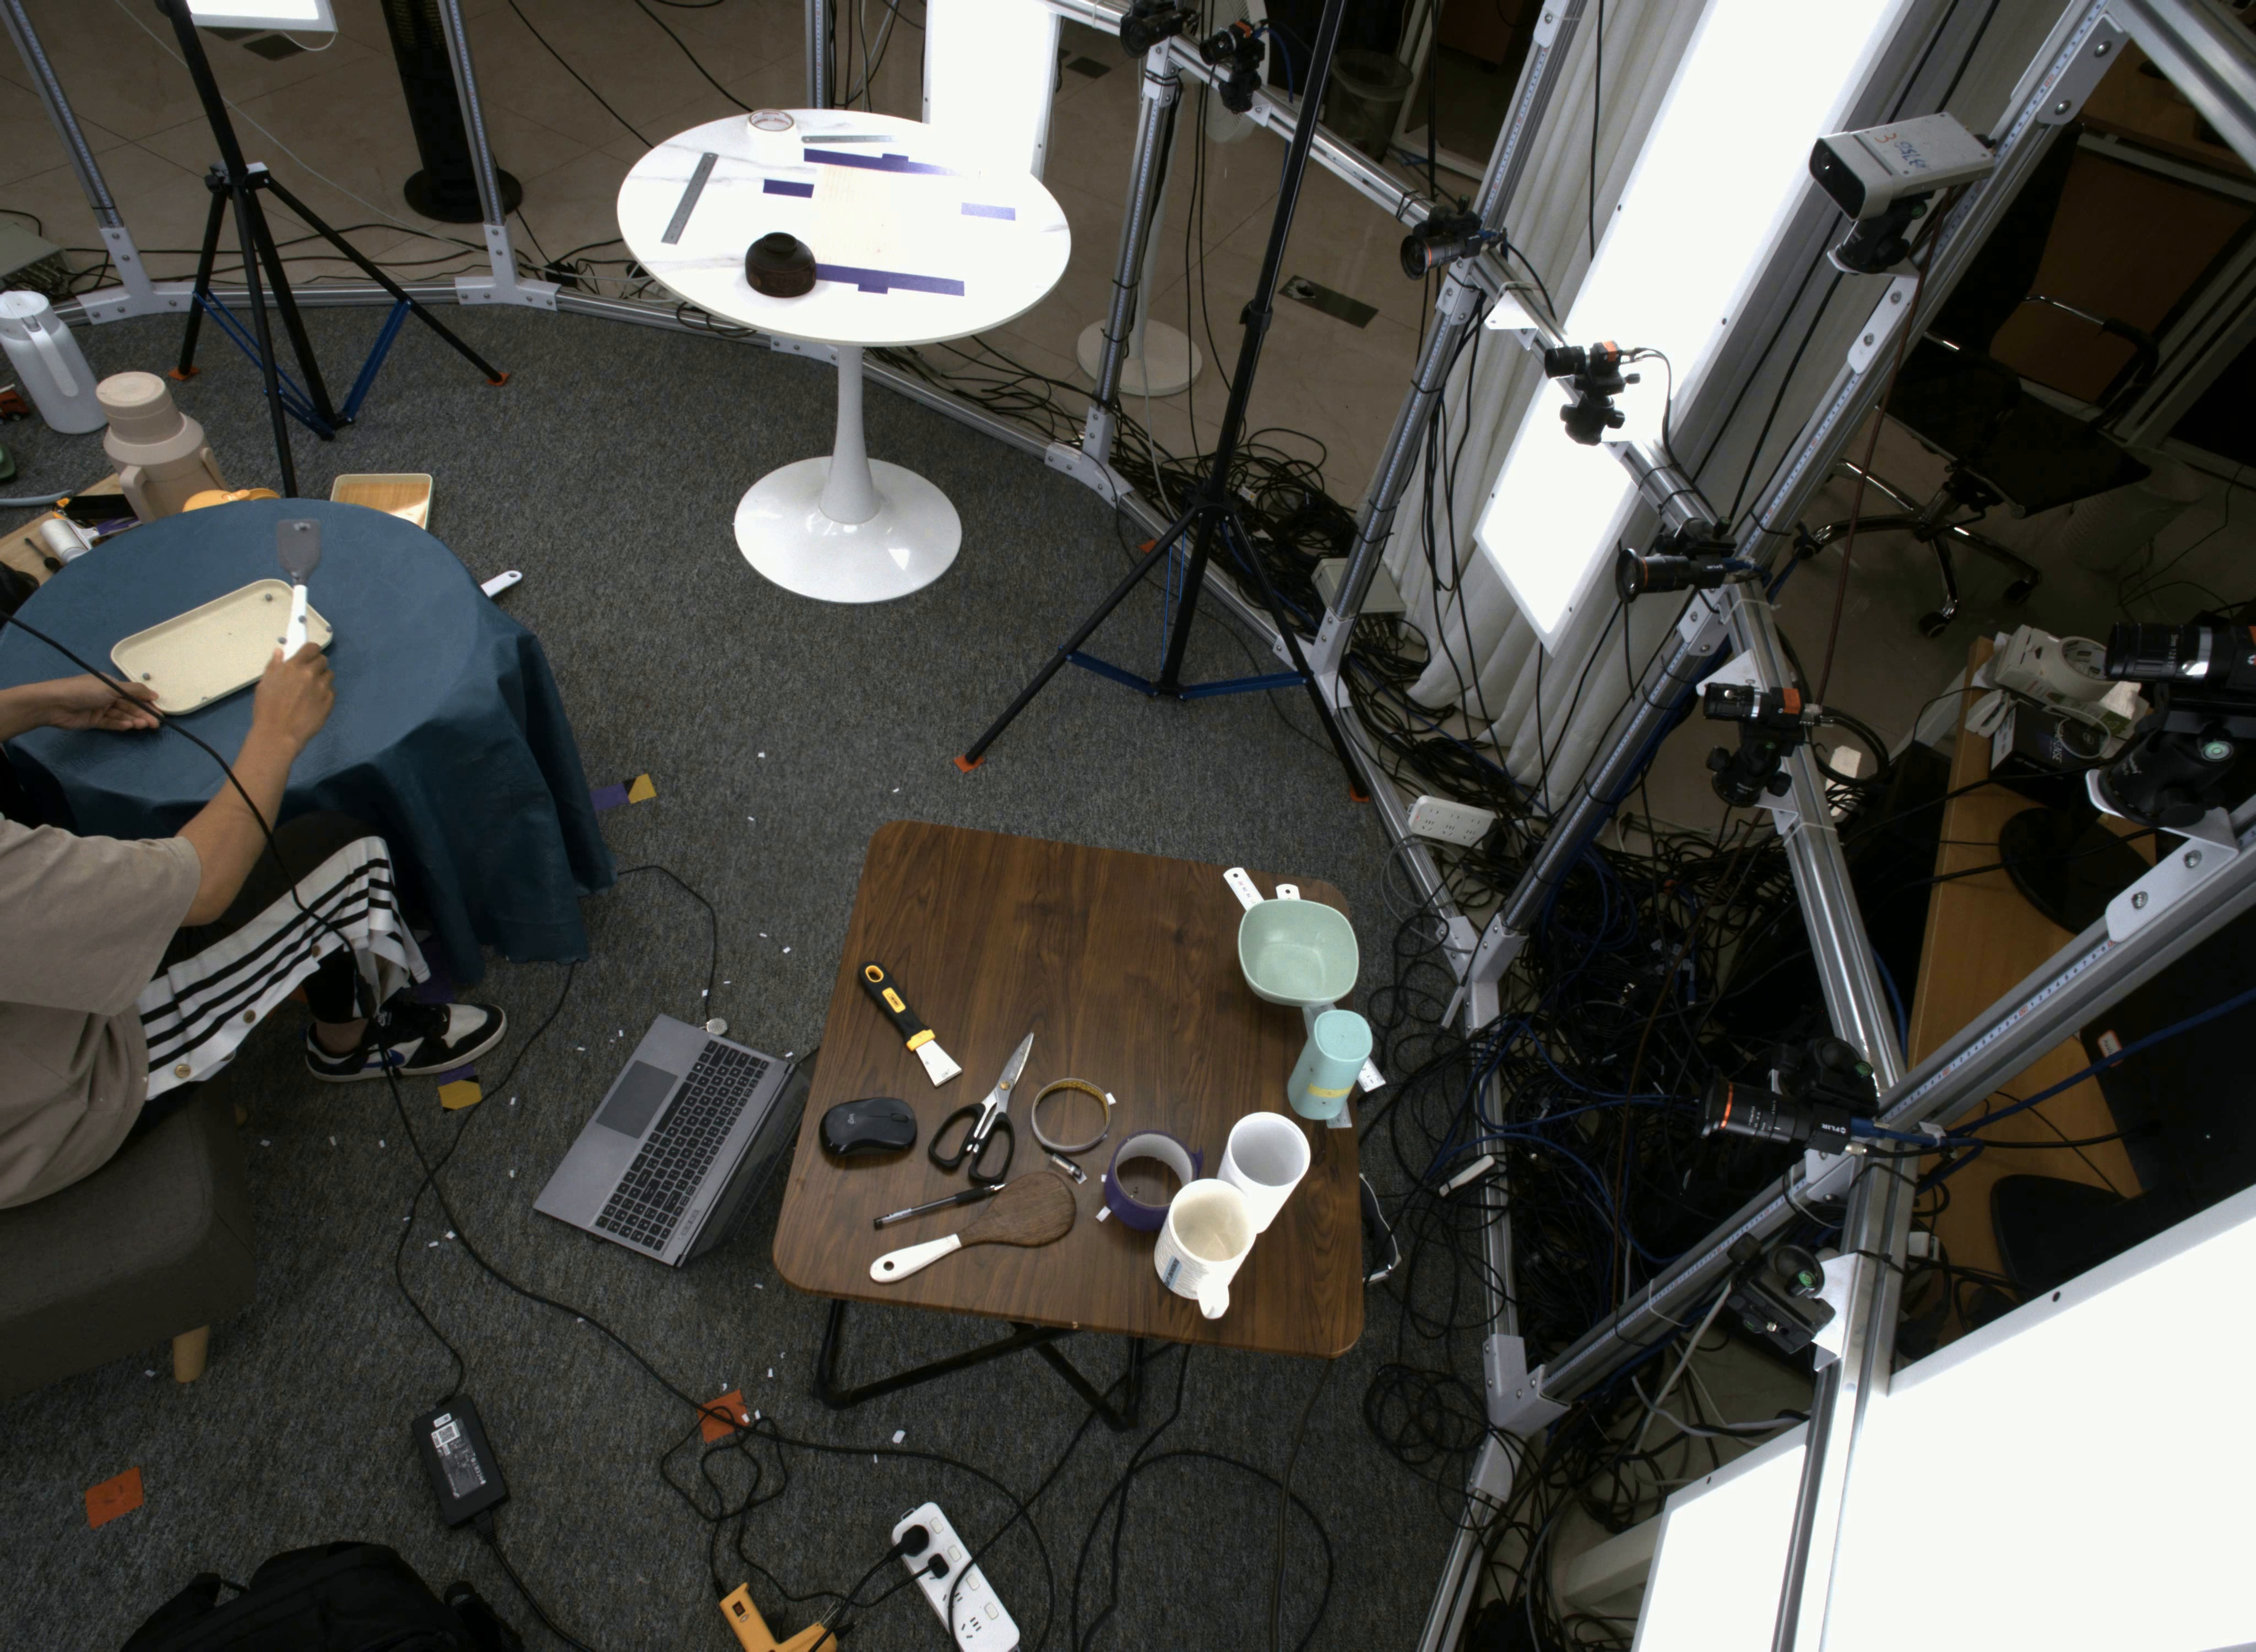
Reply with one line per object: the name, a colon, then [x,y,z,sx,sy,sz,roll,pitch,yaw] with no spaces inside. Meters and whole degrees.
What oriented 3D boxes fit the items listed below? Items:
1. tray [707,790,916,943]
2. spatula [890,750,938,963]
tray: [-0.410,0.050,1.689,0.240,0.018,0.167,-25,62,-28]
spatula: [-0.259,0.029,1.549,0.058,0.033,0.282,2,56,-9]
